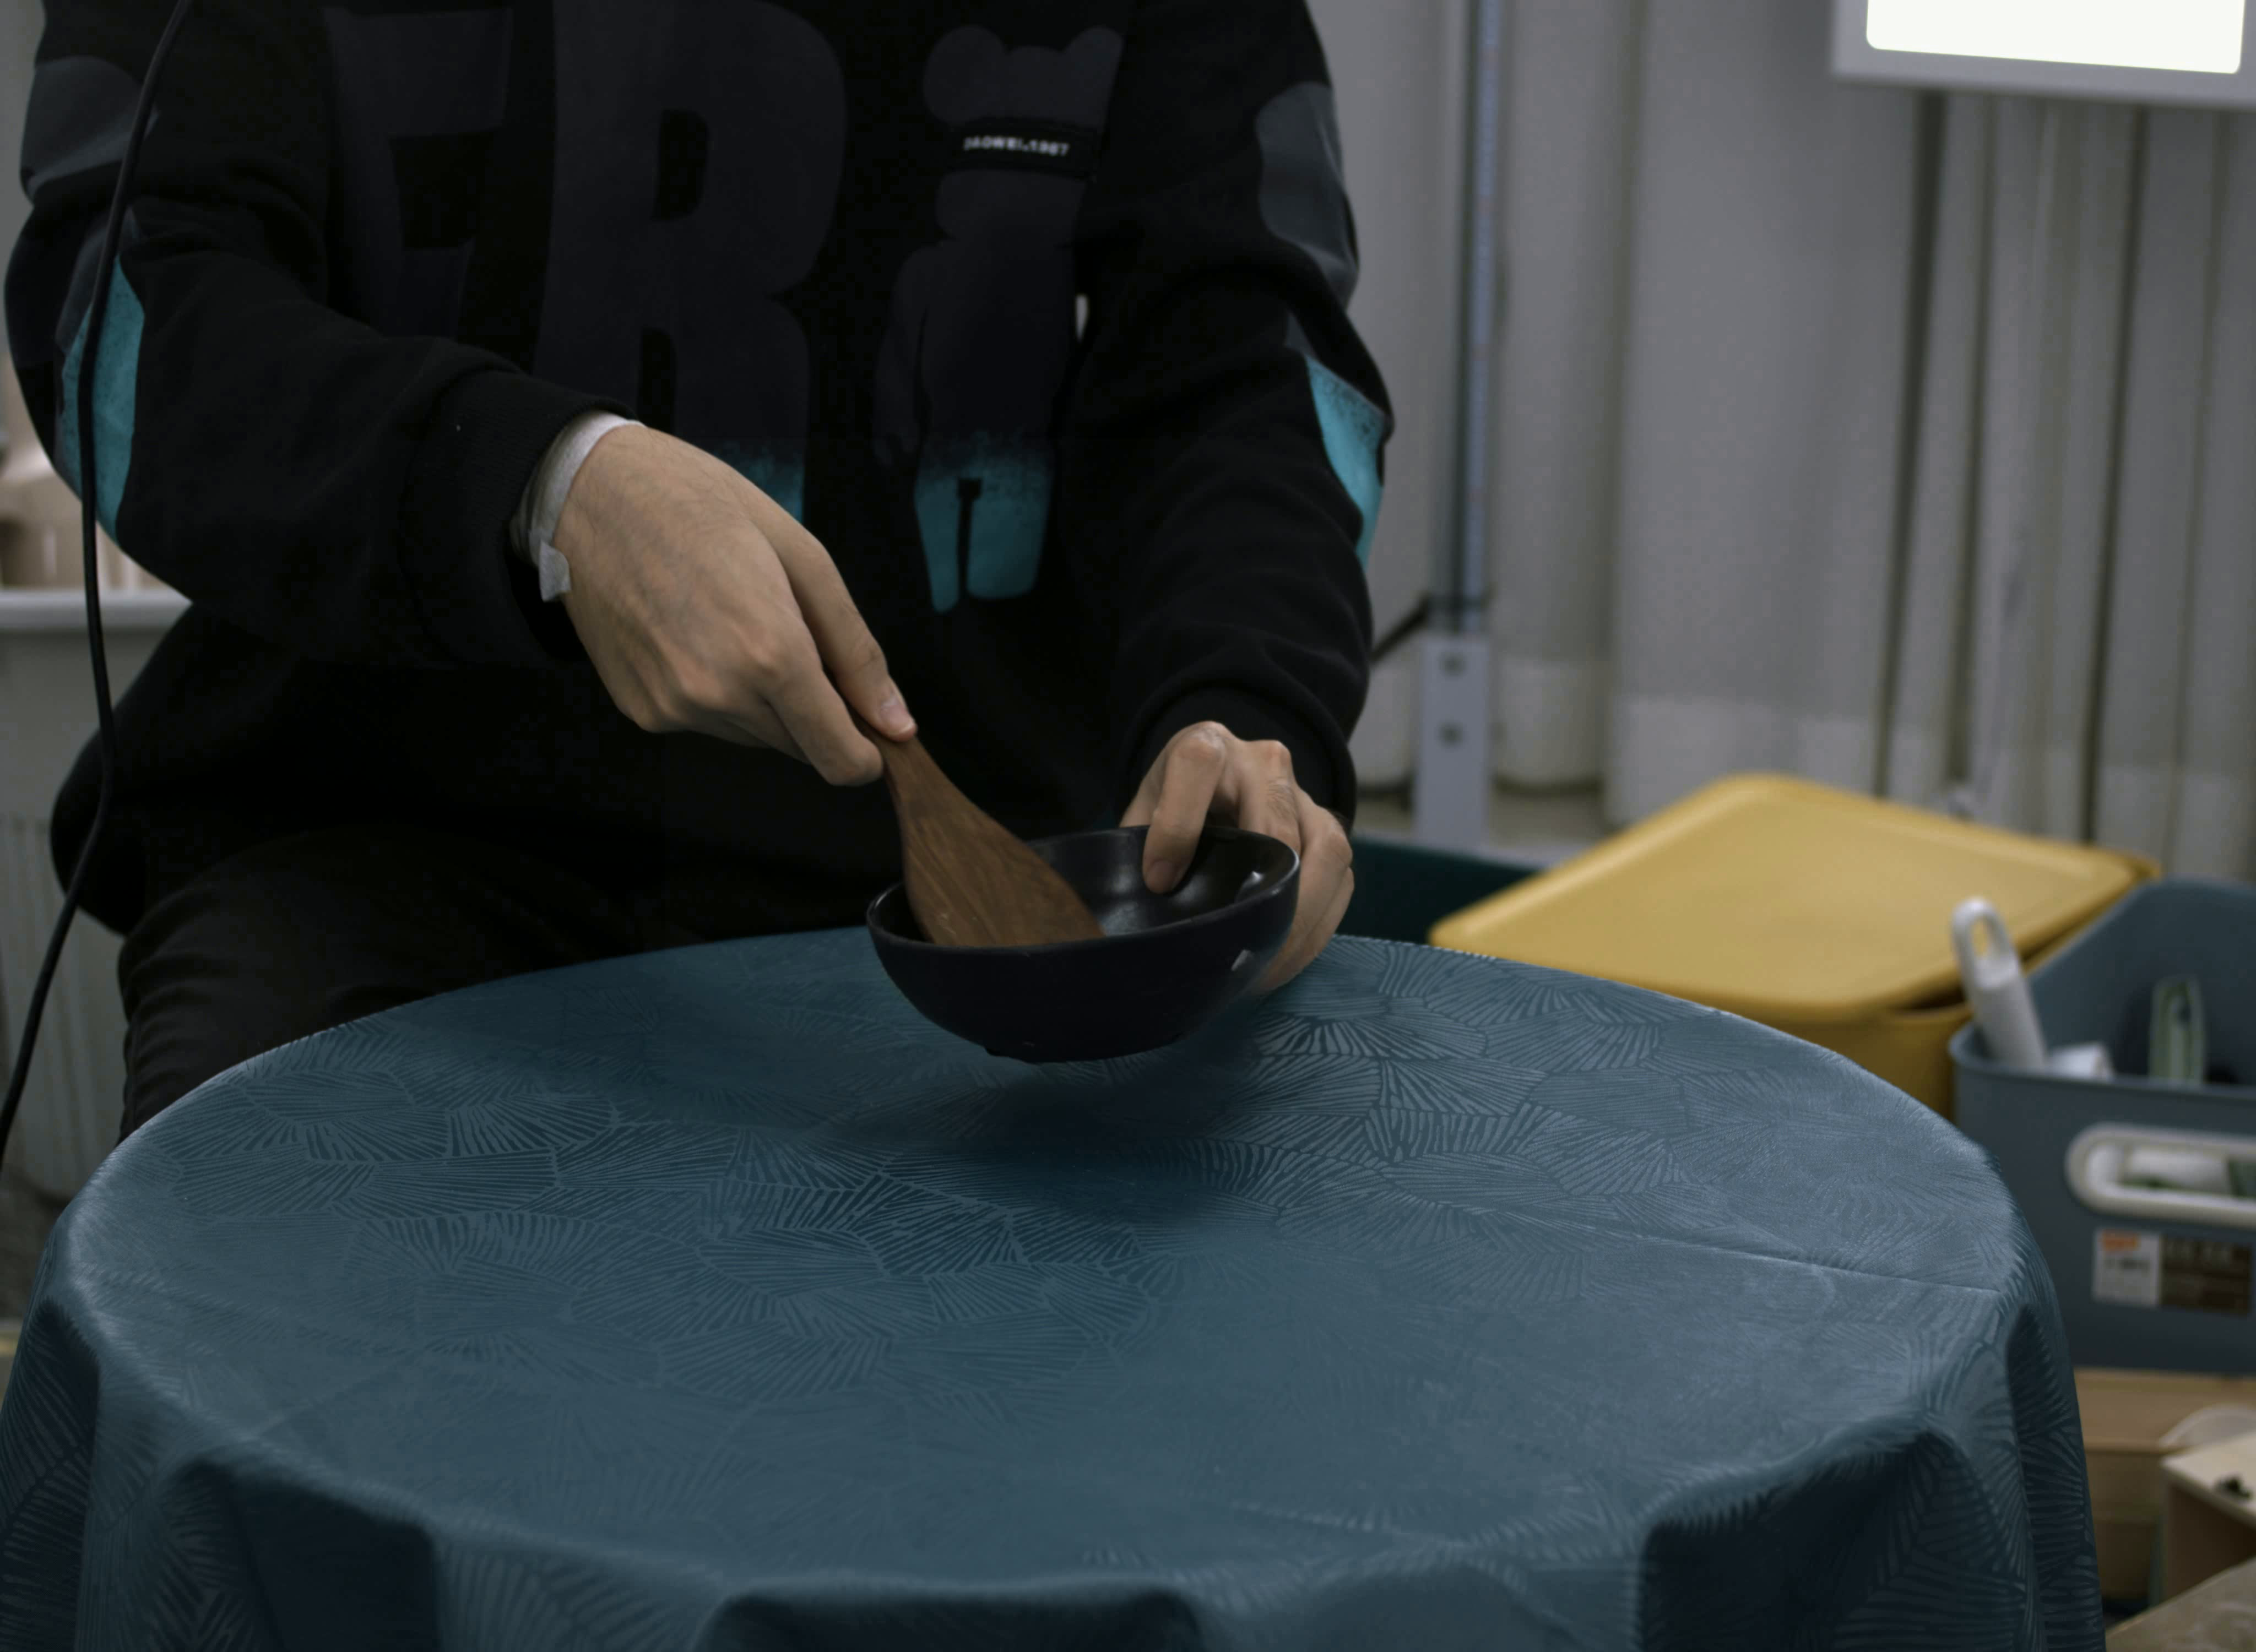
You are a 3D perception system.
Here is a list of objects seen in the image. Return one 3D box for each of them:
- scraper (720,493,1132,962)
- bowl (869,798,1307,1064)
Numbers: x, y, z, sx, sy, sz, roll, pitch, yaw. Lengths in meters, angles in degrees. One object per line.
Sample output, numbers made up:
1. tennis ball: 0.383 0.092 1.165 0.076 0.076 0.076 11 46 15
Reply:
1. scraper: -0.073 -0.025 1.712 0.076 0.011 0.210 -15 66 -48
2. bowl: -0.011 0.039 1.667 0.139 0.050 0.139 -2 22 1
